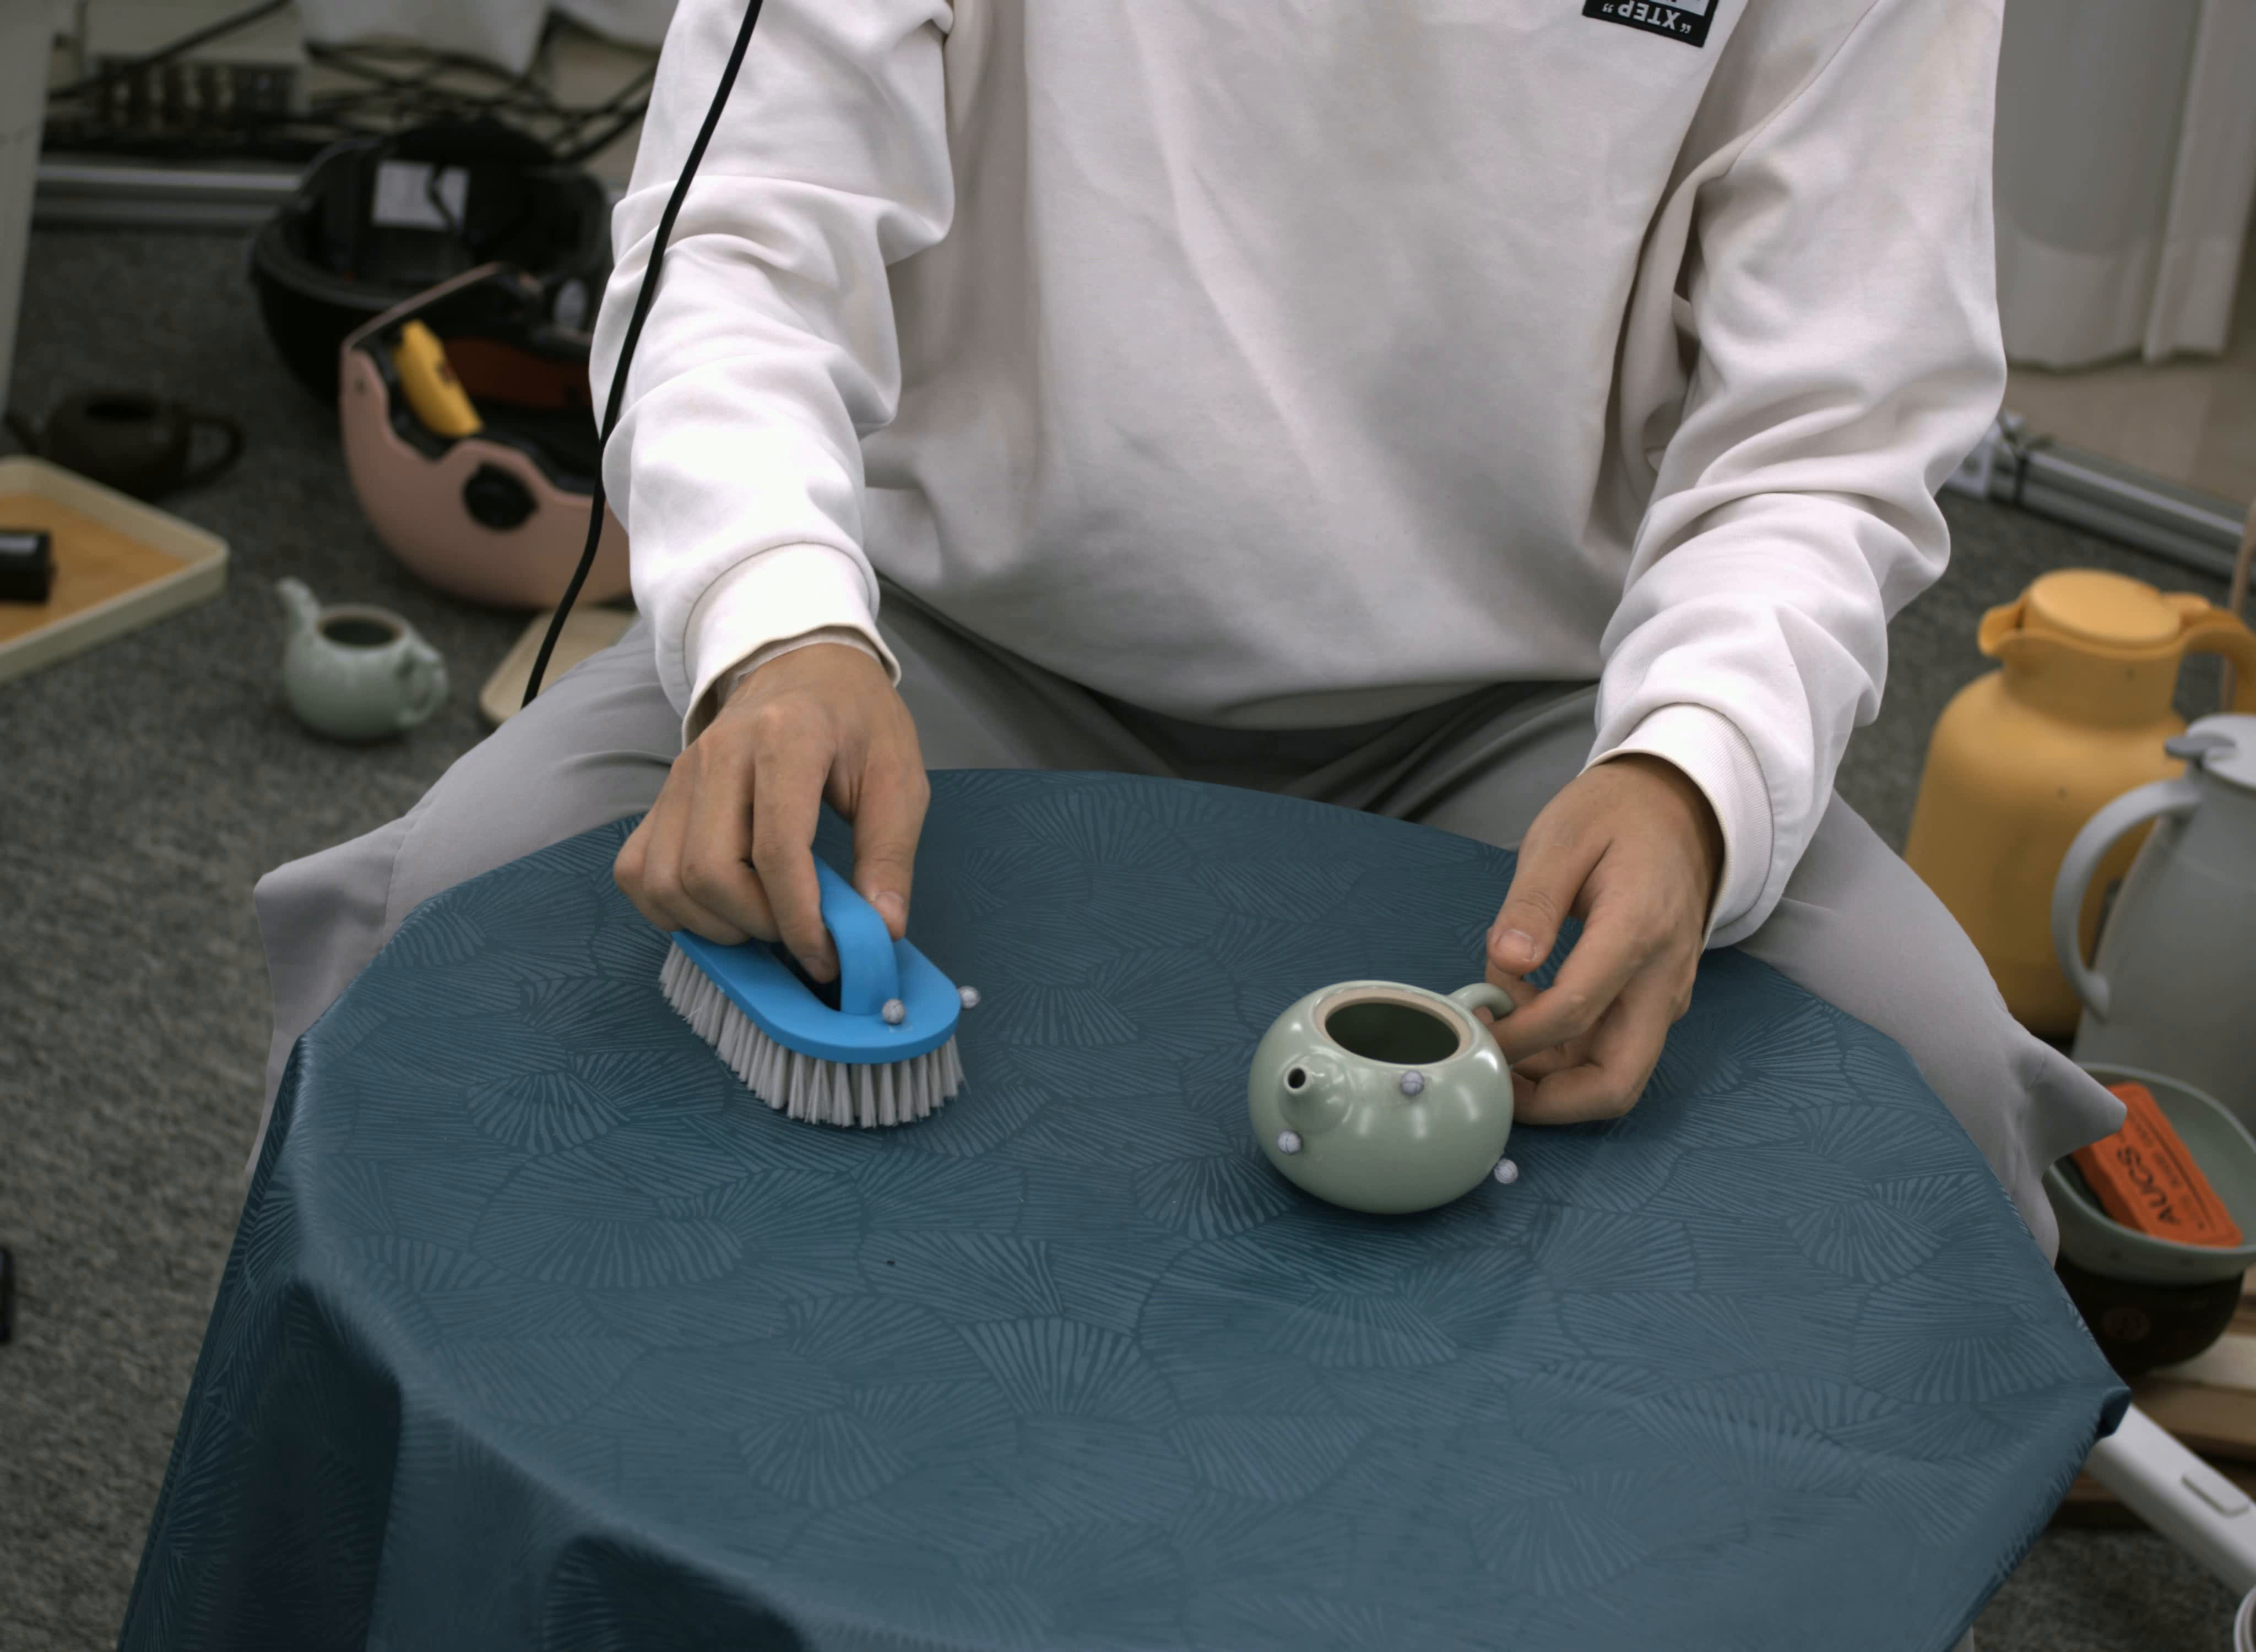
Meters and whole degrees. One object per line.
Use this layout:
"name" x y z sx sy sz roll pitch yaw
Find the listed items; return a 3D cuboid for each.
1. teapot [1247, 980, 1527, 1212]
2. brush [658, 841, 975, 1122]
"teapot" 0.093 0.091 1.828 0.128 0.061 0.092 -17 33 -42
"brush" -0.112 0.046 1.863 0.084 0.063 0.143 -16 30 -26
